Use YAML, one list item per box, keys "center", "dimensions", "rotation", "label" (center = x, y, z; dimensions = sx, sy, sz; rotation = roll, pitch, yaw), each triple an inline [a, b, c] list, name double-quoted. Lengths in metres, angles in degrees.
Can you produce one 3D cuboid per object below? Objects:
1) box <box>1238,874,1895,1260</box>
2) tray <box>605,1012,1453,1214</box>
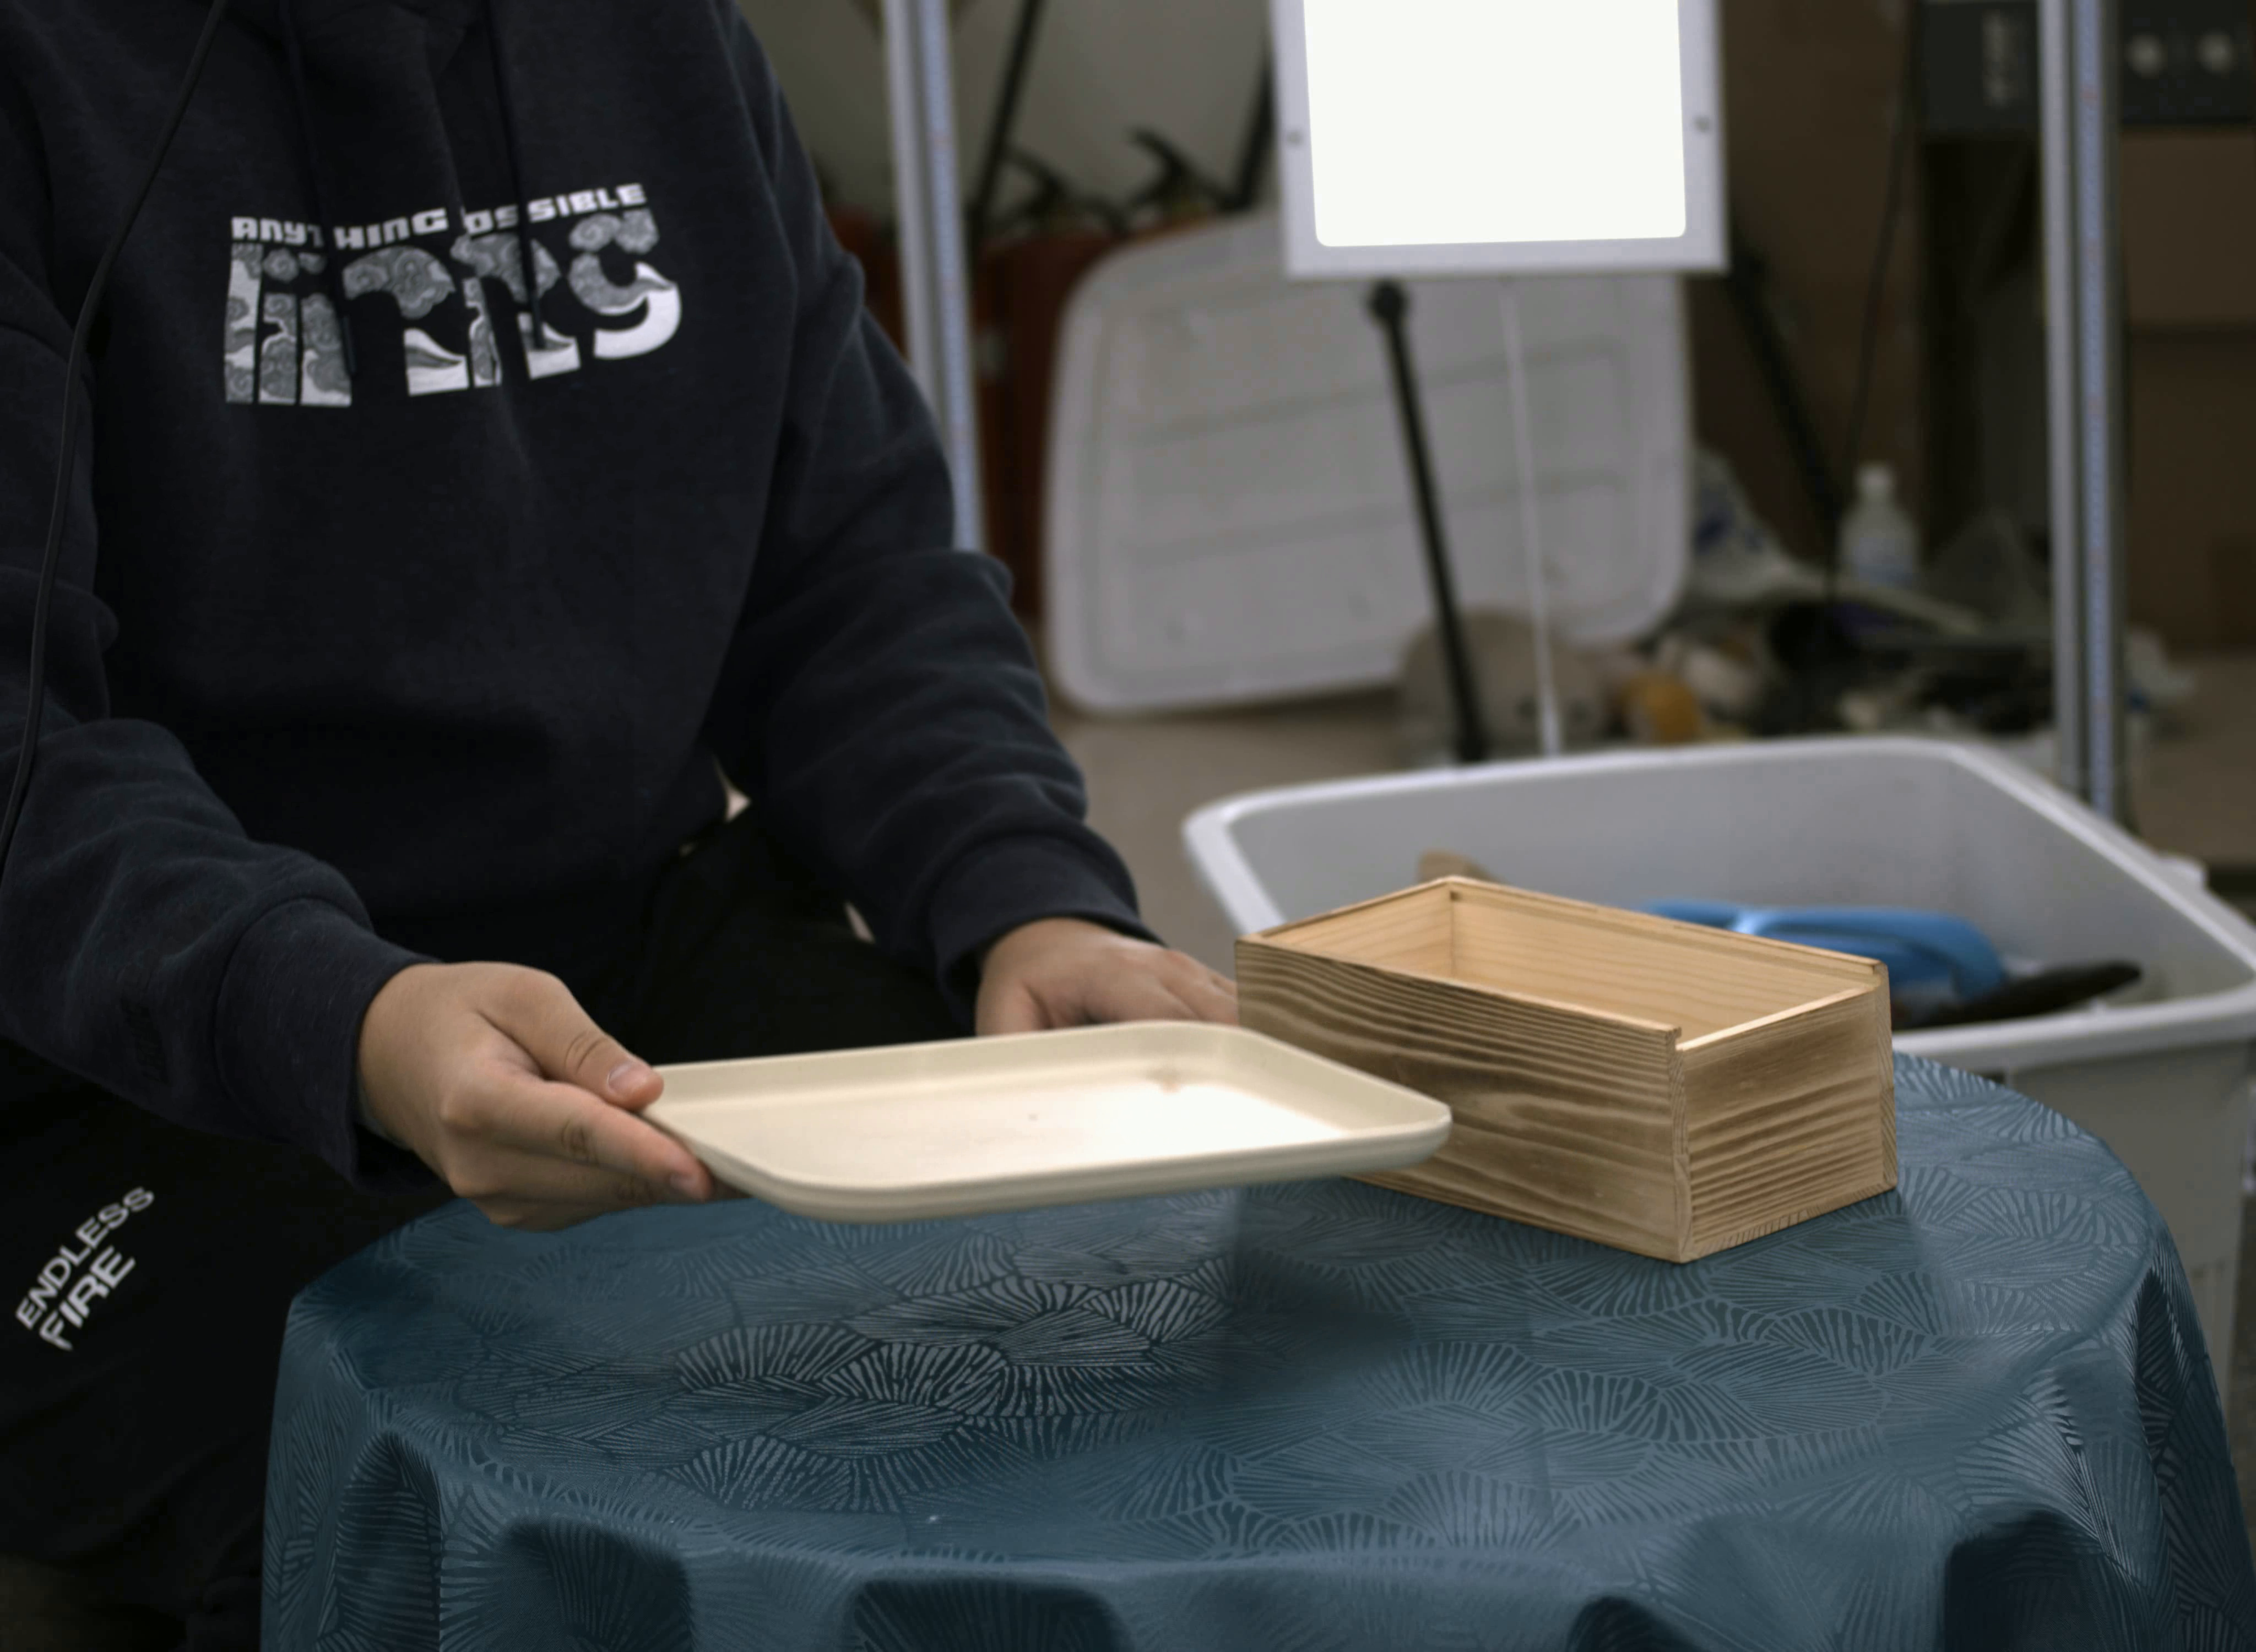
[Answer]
- center: [0.148, 0.079, 1.873]
  dimensions: [0.105, 0.080, 0.216]
  rotation: [-15, 16, -37]
  label: "box"
- center: [-0.031, 0.090, 1.731]
  dimensions: [0.234, 0.017, 0.174]
  rotation: [-5, 11, -29]
  label: "tray"
